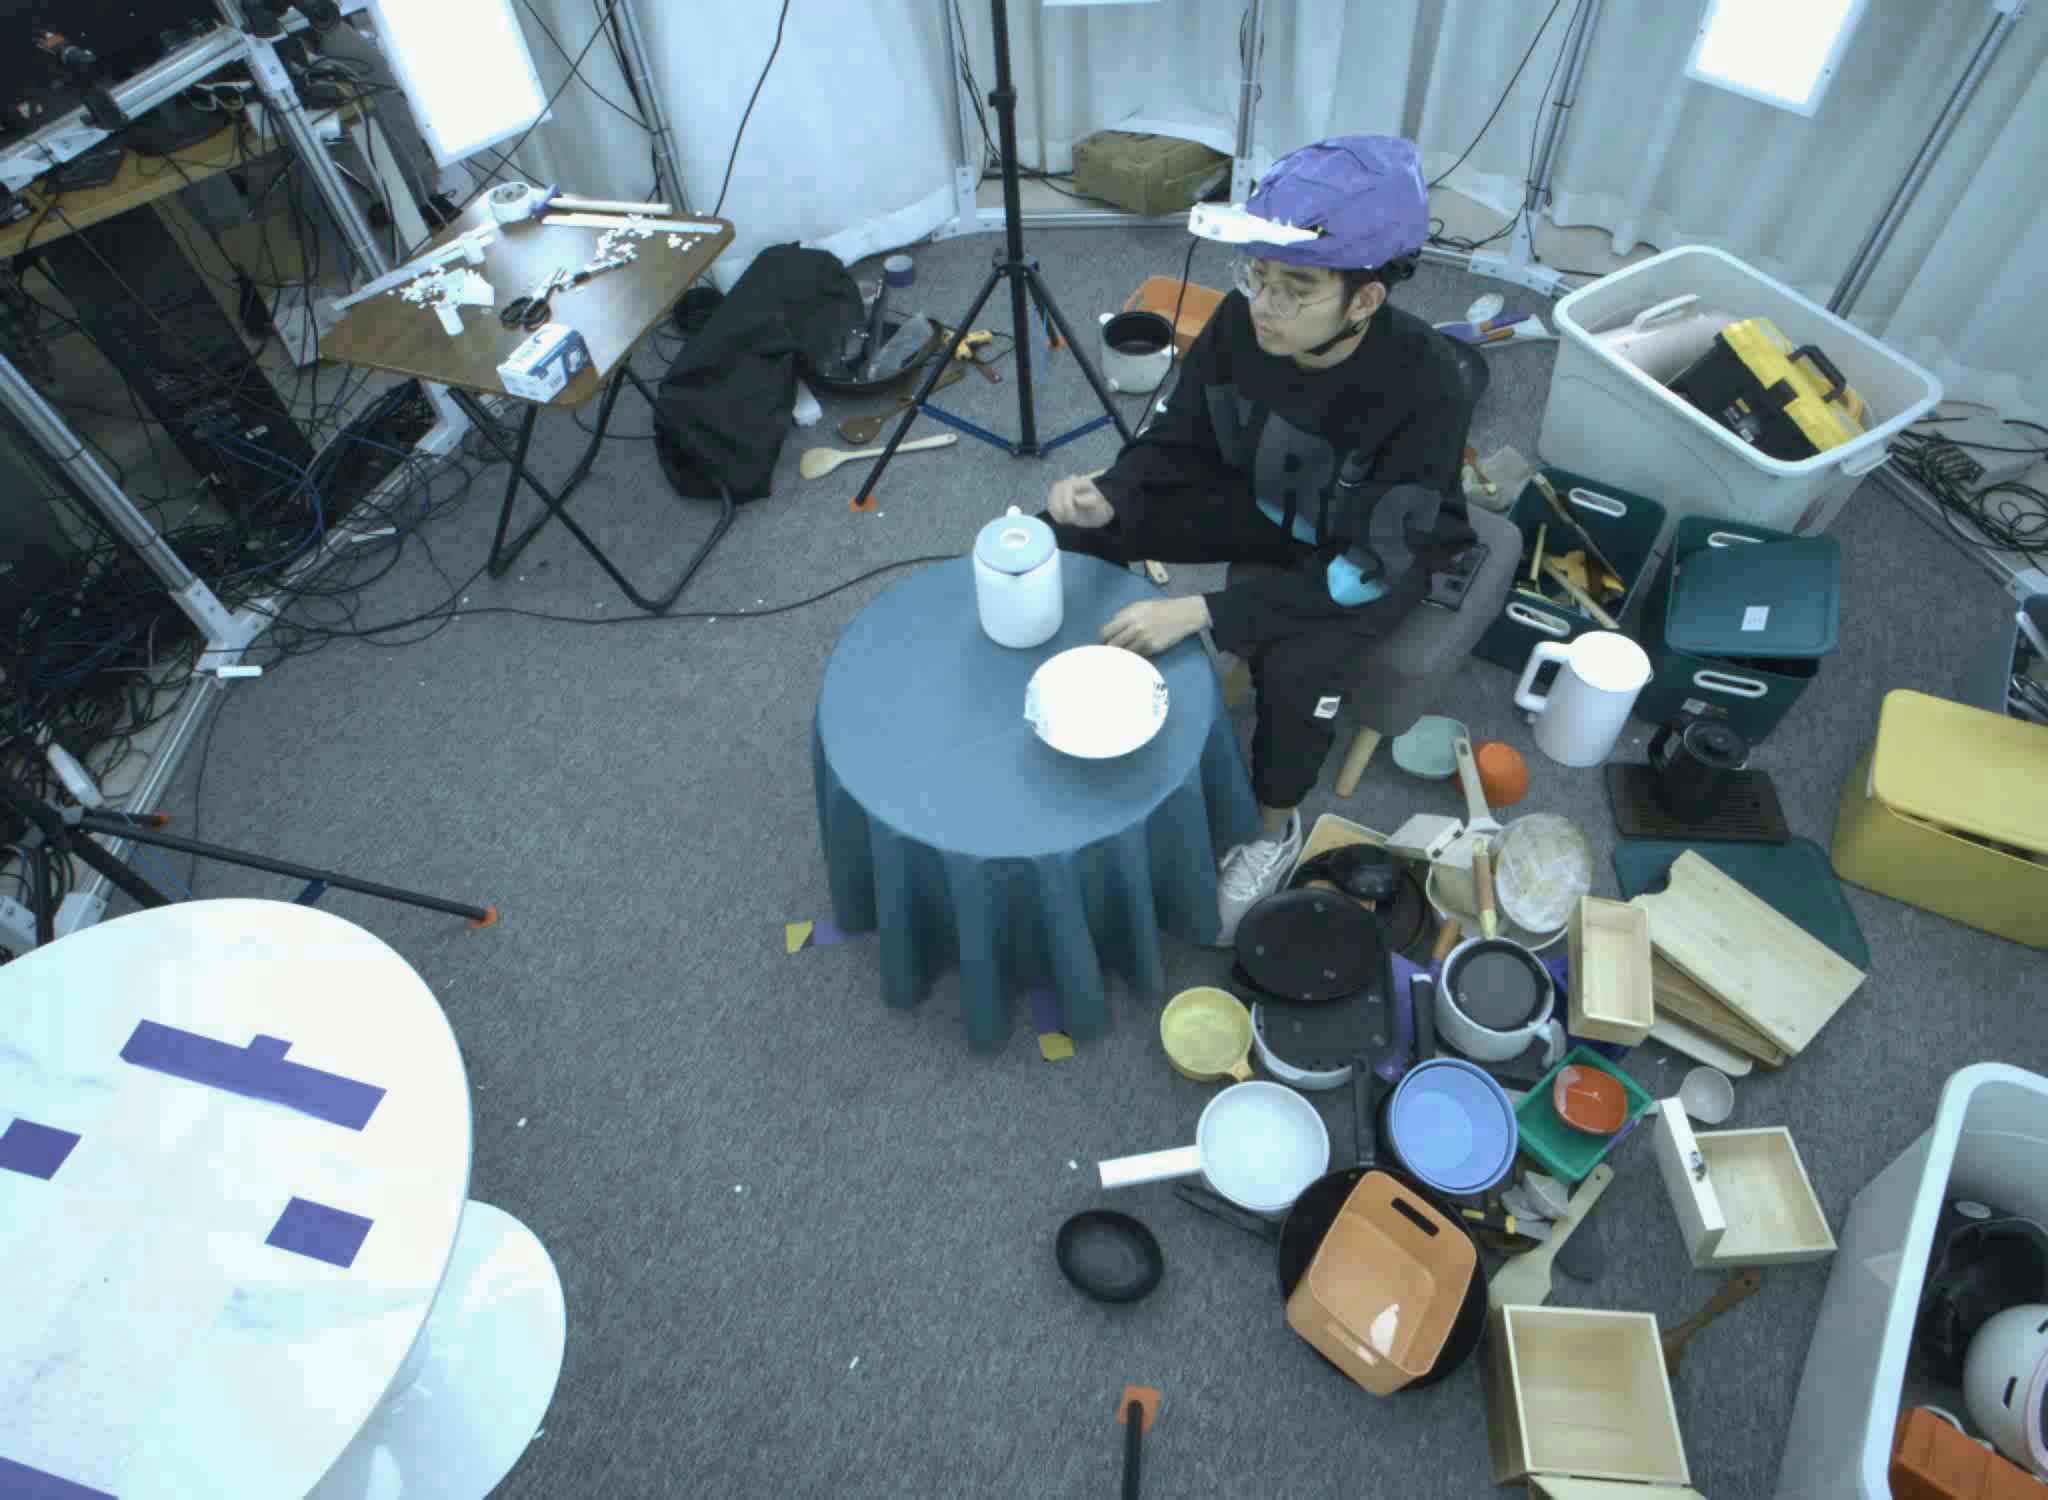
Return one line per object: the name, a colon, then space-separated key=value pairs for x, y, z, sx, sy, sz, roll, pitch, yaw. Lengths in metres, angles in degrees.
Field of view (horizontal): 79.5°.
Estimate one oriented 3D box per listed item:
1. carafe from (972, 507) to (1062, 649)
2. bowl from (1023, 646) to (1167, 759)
carafe: x=-0.012 y=-0.274 z=1.873 sx=0.132 sy=0.184 sz=0.188 roll=-5 pitch=52 yaw=-2
bowl: x=0.101 y=-0.048 z=1.767 sx=0.204 sy=0.078 sz=0.202 roll=1 pitch=54 yaw=0
